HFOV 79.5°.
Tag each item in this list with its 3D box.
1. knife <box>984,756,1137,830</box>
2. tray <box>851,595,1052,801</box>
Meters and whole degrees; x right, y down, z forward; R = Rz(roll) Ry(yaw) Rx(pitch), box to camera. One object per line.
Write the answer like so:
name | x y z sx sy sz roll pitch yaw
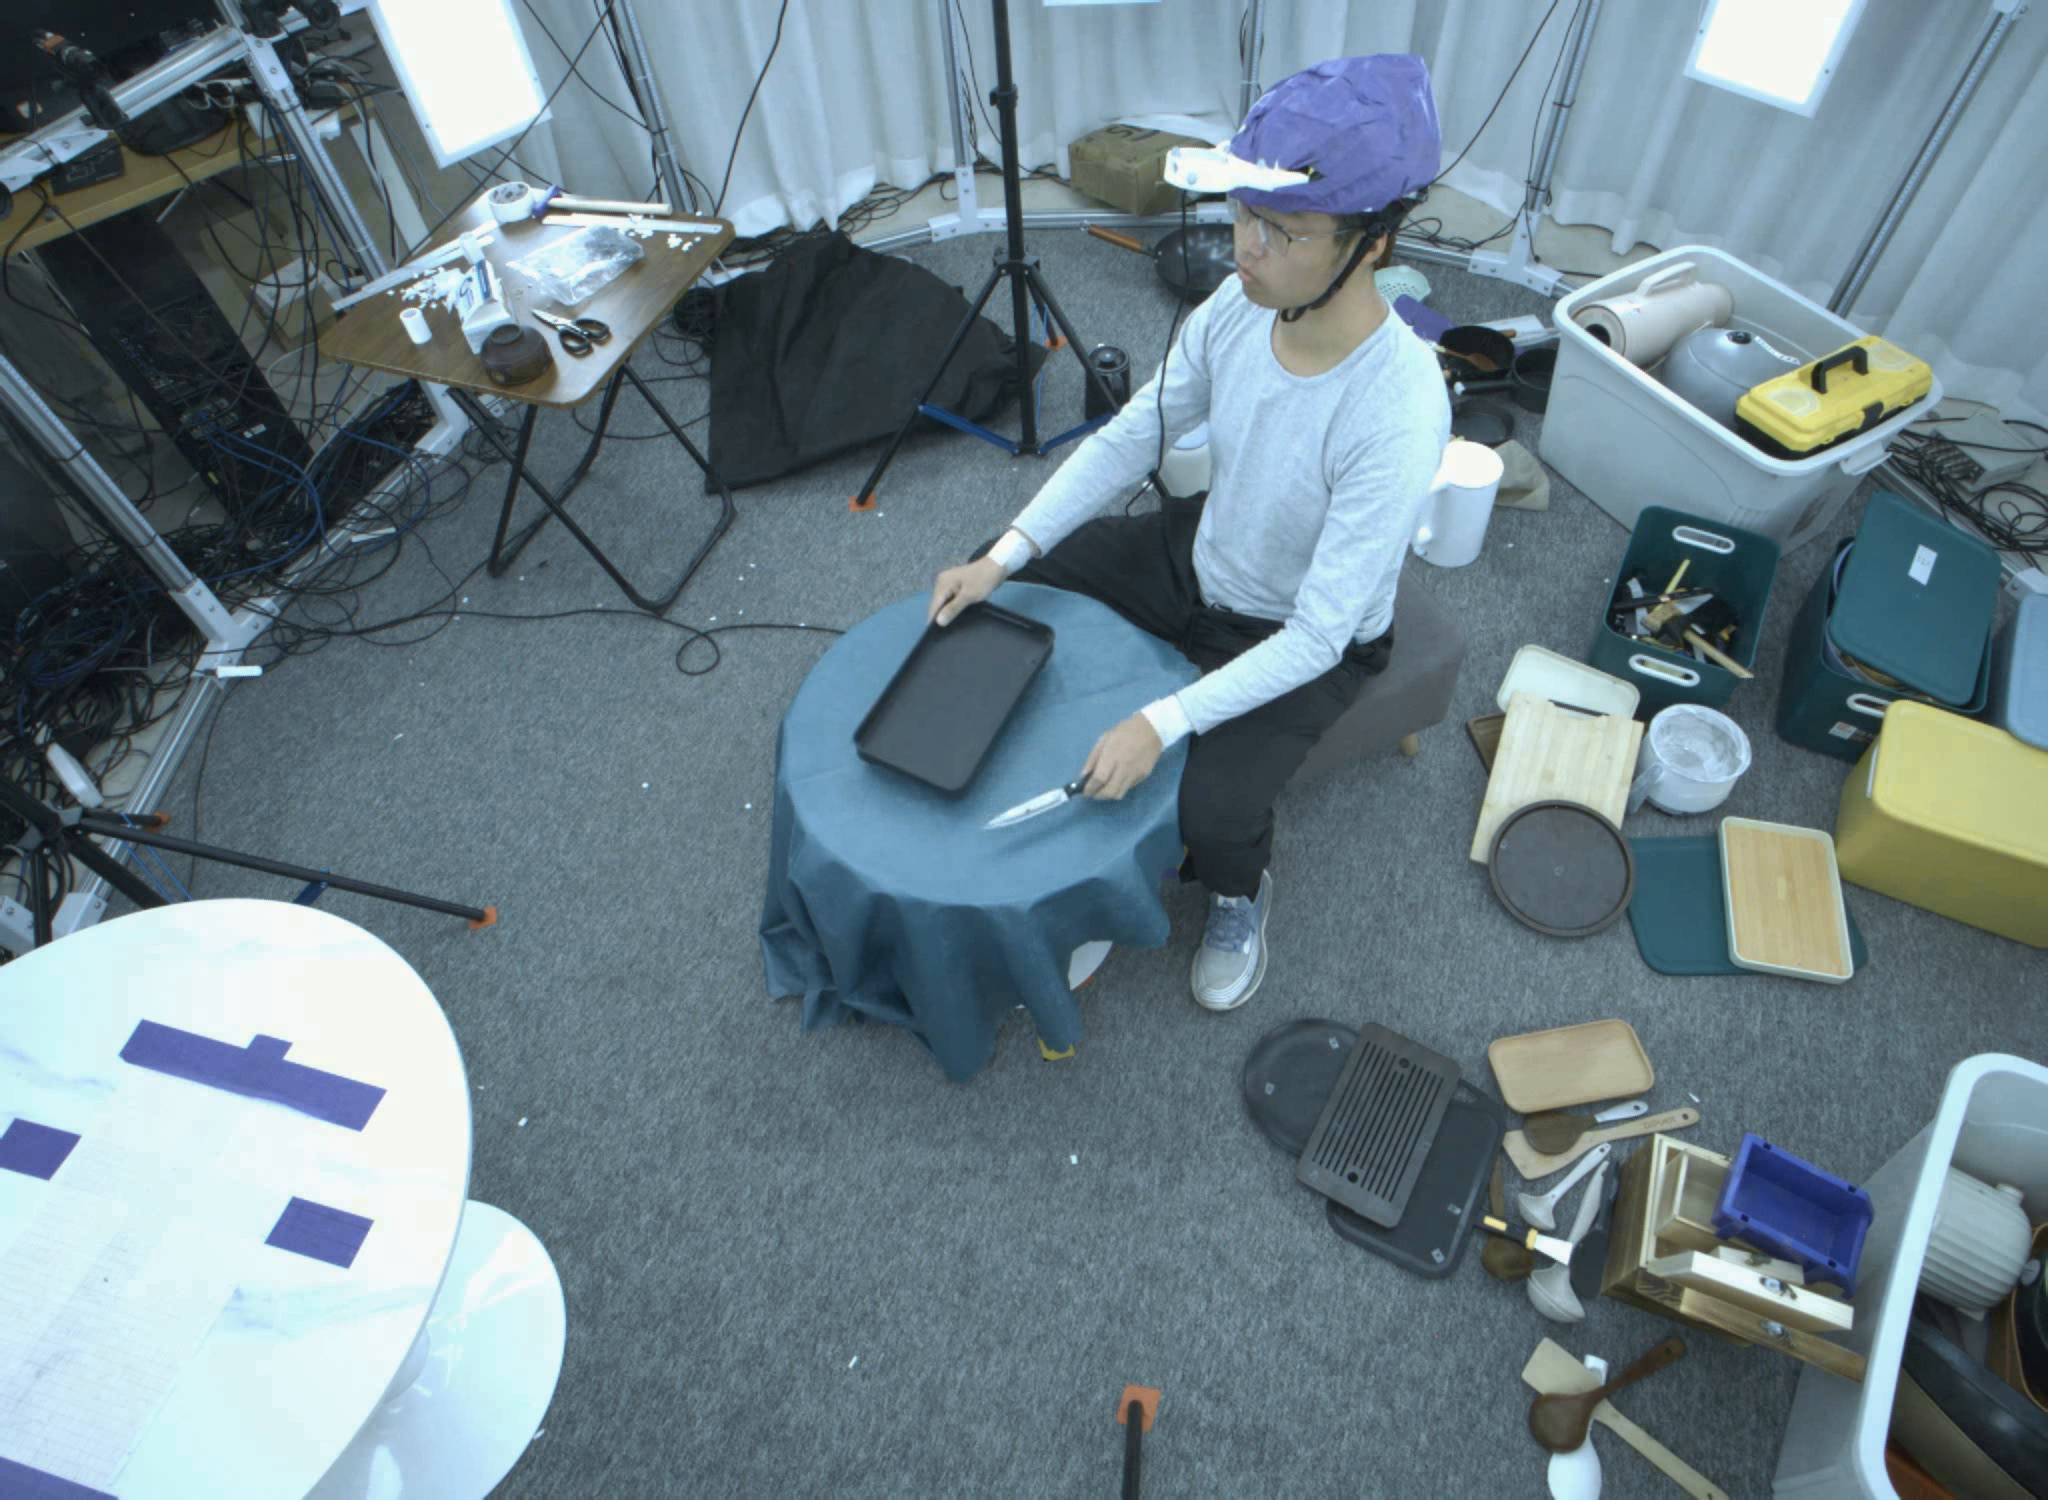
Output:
knife | 0.050 0.059 1.700 0.240 0.016 0.024 -24 60 -16
tray | -0.102 -0.082 1.796 0.182 0.037 0.318 23 60 12
